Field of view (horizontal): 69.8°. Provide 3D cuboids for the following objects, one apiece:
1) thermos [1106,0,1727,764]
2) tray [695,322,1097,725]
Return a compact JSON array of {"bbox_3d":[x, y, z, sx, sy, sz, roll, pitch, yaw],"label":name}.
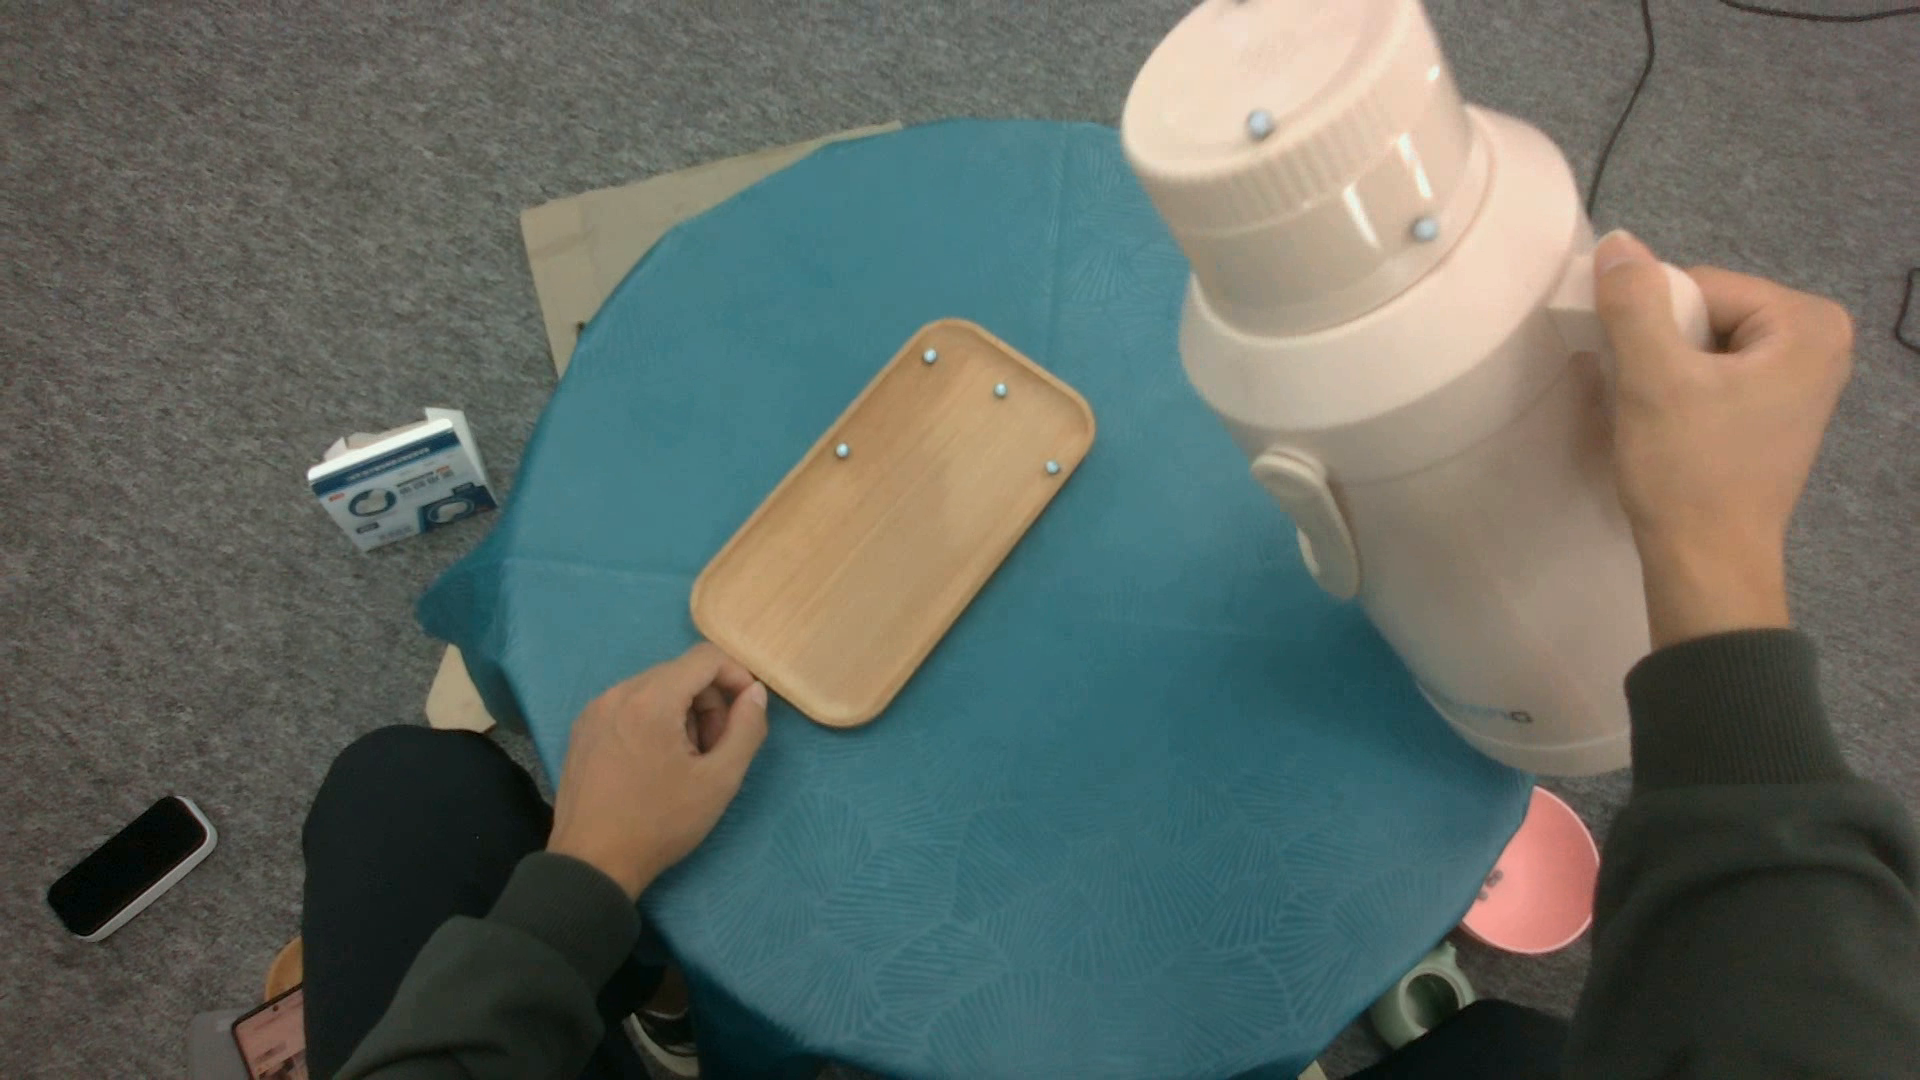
[{"bbox_3d":[0.219,-0.052,0.602,0.206,0.406,0.176,13,67,47],"label":"thermos"},{"bbox_3d":[-0.033,-0.015,0.796,0.130,0.023,0.251,35,69,14],"label":"tray"}]
